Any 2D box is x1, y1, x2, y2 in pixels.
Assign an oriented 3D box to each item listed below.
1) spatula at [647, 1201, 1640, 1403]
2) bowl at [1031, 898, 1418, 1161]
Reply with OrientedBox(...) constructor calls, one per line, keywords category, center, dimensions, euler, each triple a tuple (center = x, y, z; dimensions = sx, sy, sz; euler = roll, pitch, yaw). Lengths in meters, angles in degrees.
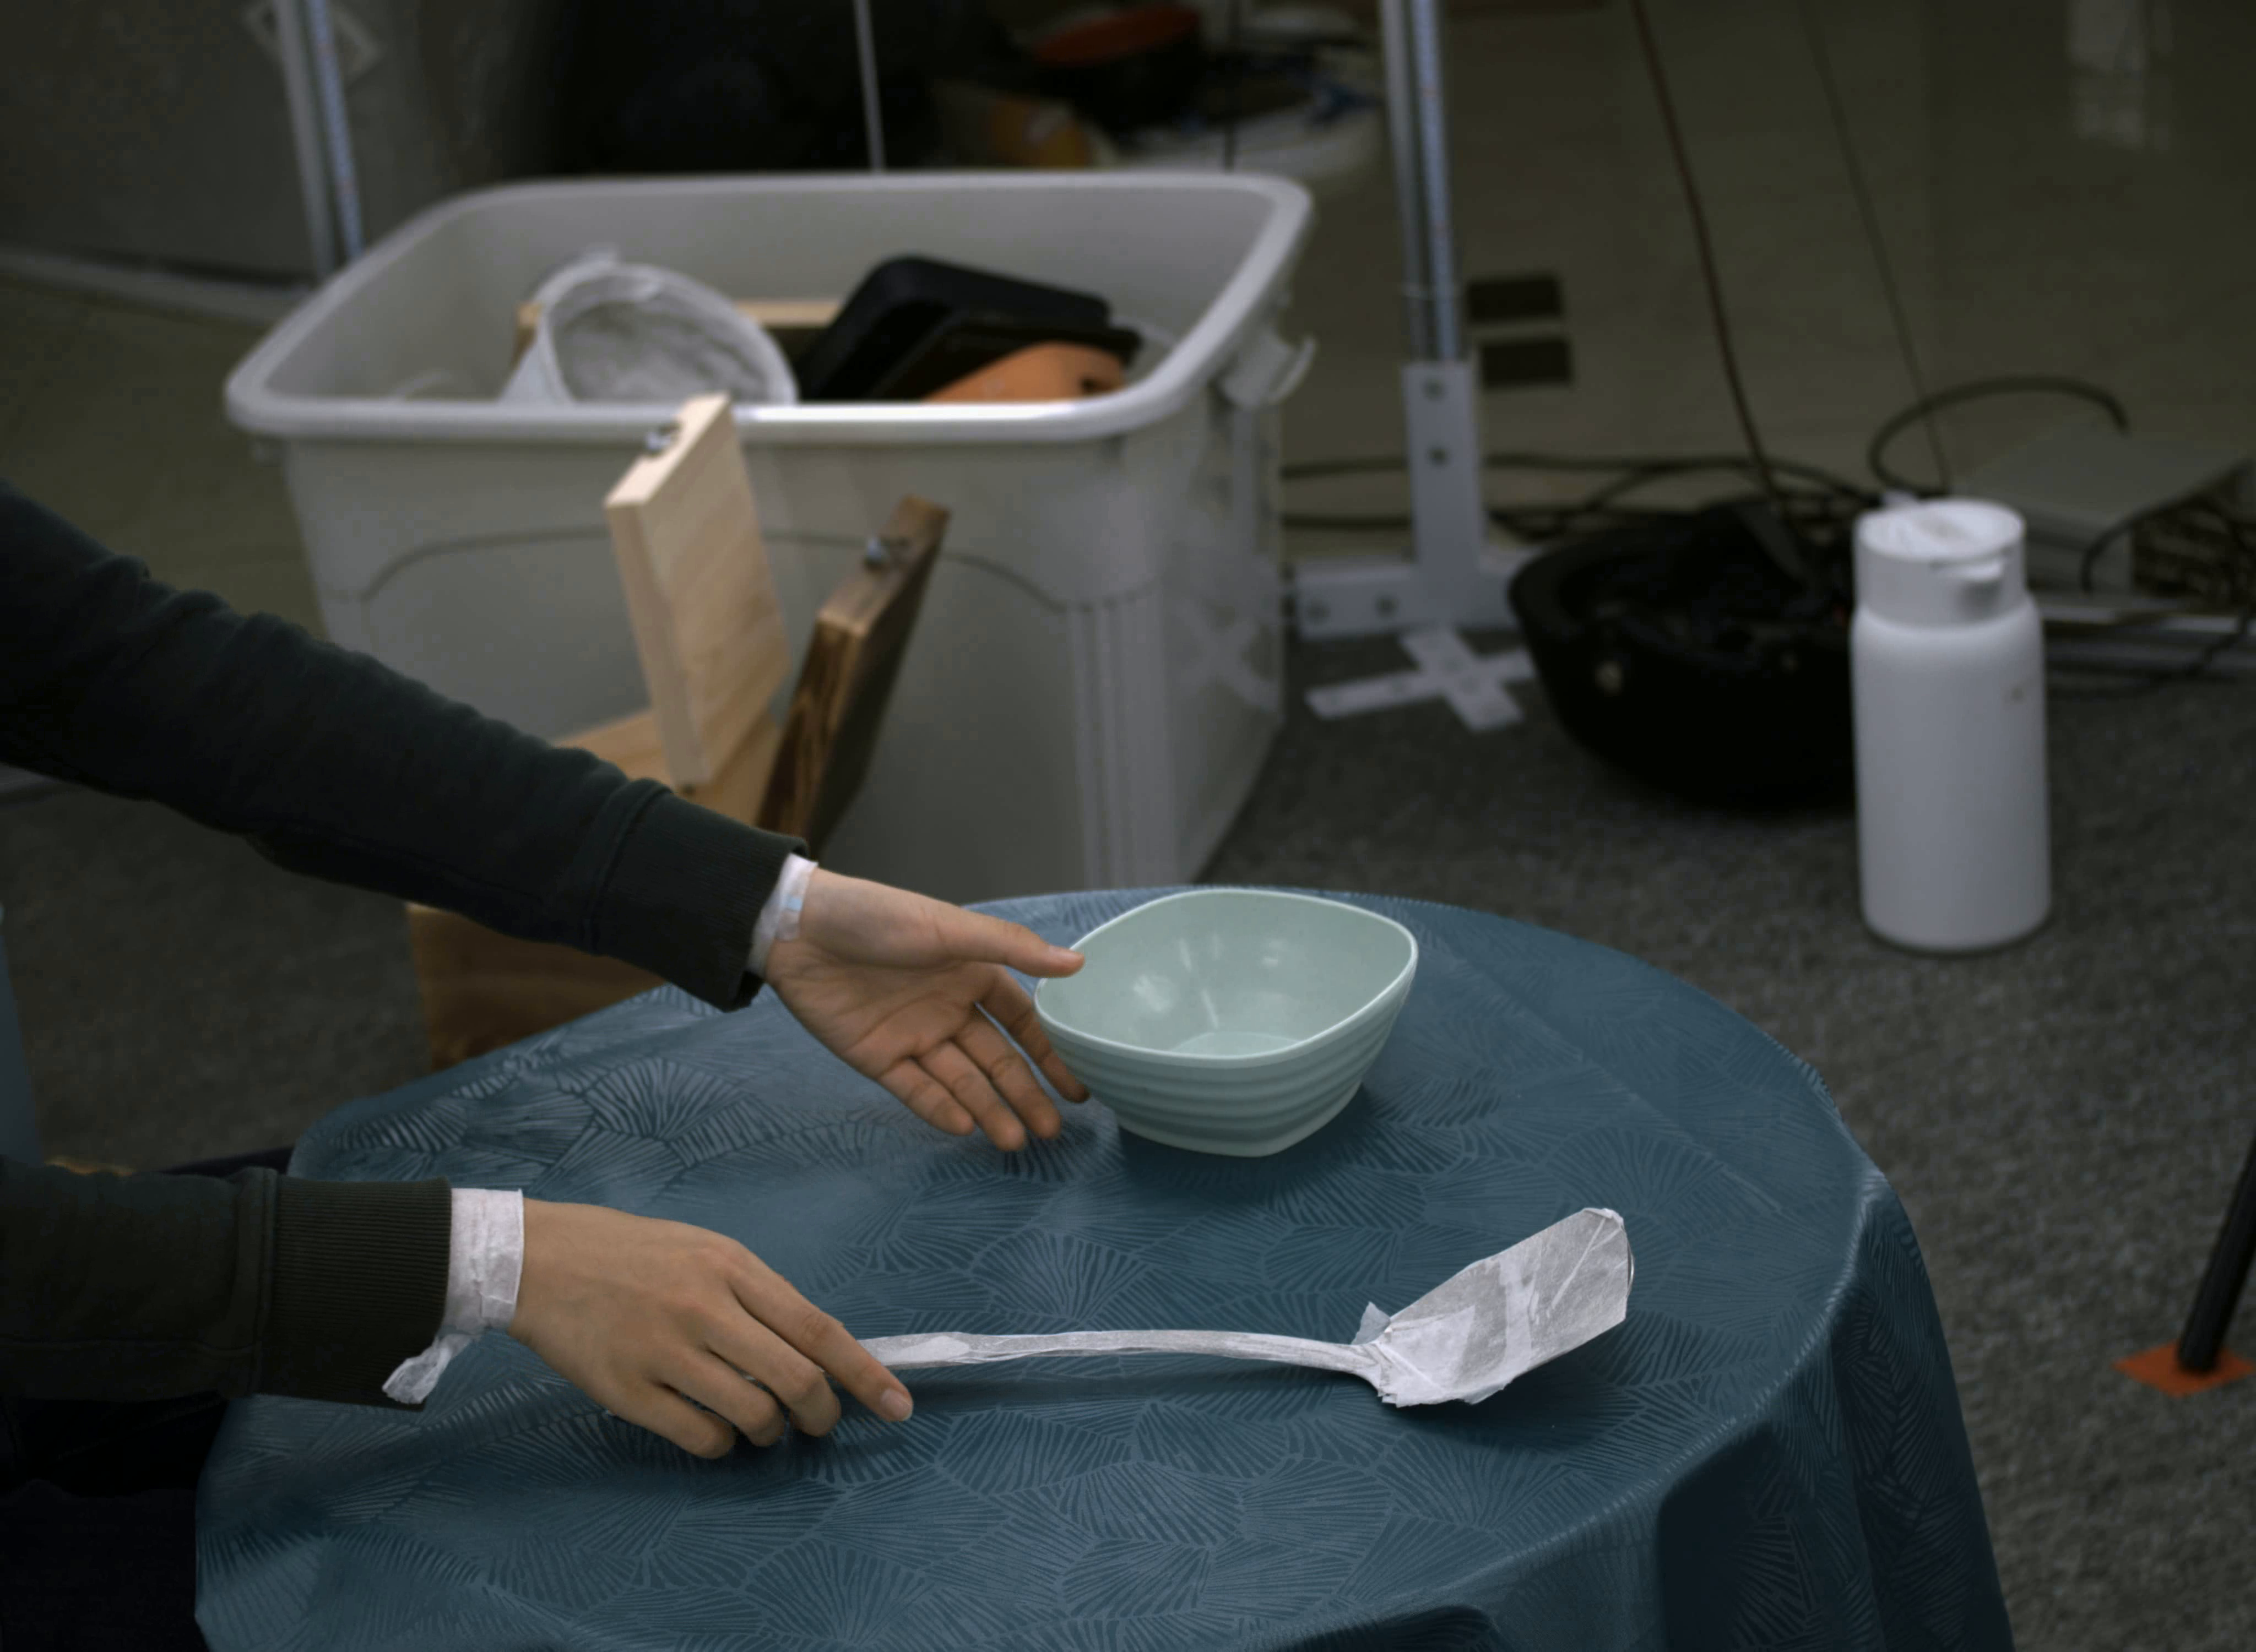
OrientedBox(category="spatula", center=(0.001, 0.179, 2.020), dimensions=(0.364, 0.045, 0.097), euler=(-3, 27, 8))
OrientedBox(category="bowl", center=(0.039, 0.083, 2.196), dimensions=(0.151, 0.059, 0.149), euler=(-3, 24, 1))
